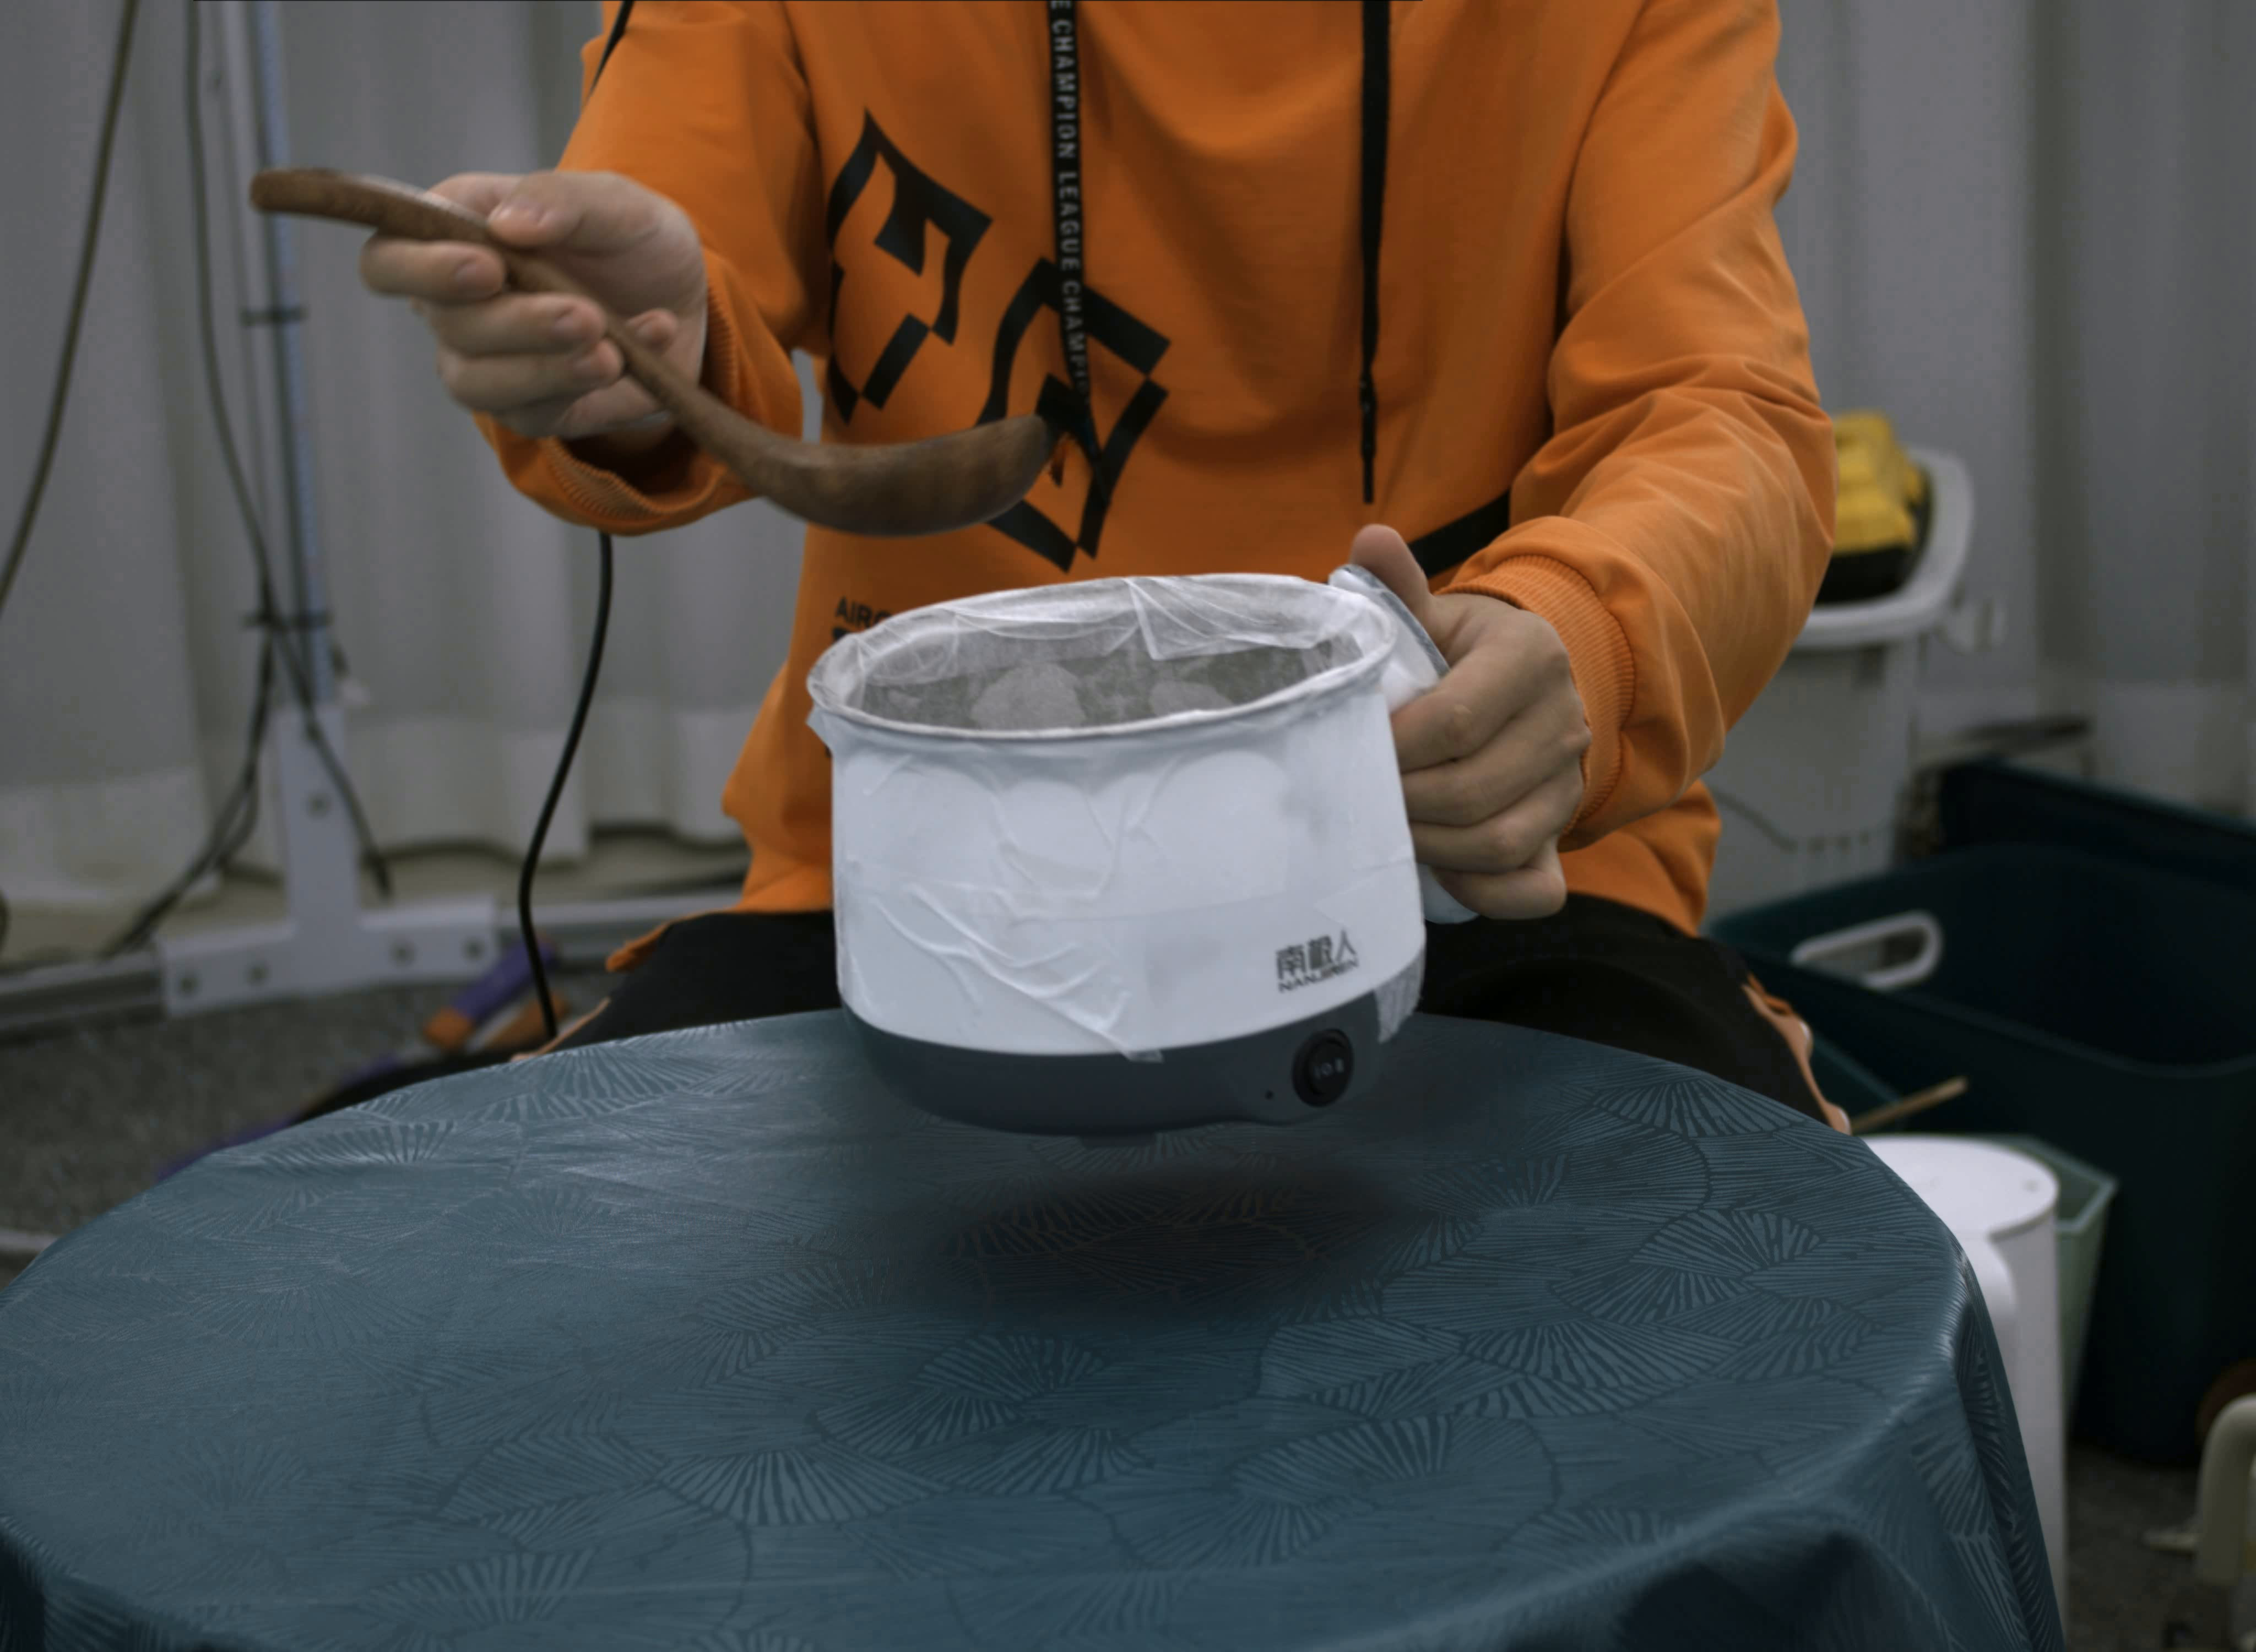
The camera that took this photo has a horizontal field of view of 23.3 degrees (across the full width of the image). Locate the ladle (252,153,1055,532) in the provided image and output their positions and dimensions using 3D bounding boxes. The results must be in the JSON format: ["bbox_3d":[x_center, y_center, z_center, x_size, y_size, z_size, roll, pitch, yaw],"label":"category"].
[{"bbox_3d":[-0.141,-0.156,1.626,0.261,0.065,0.076,31,11,11],"label":"ladle"}]

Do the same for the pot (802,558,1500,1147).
[{"bbox_3d":[0.017,0.000,1.658,0.233,0.136,0.180,-18,21,-38],"label":"pot"}]
